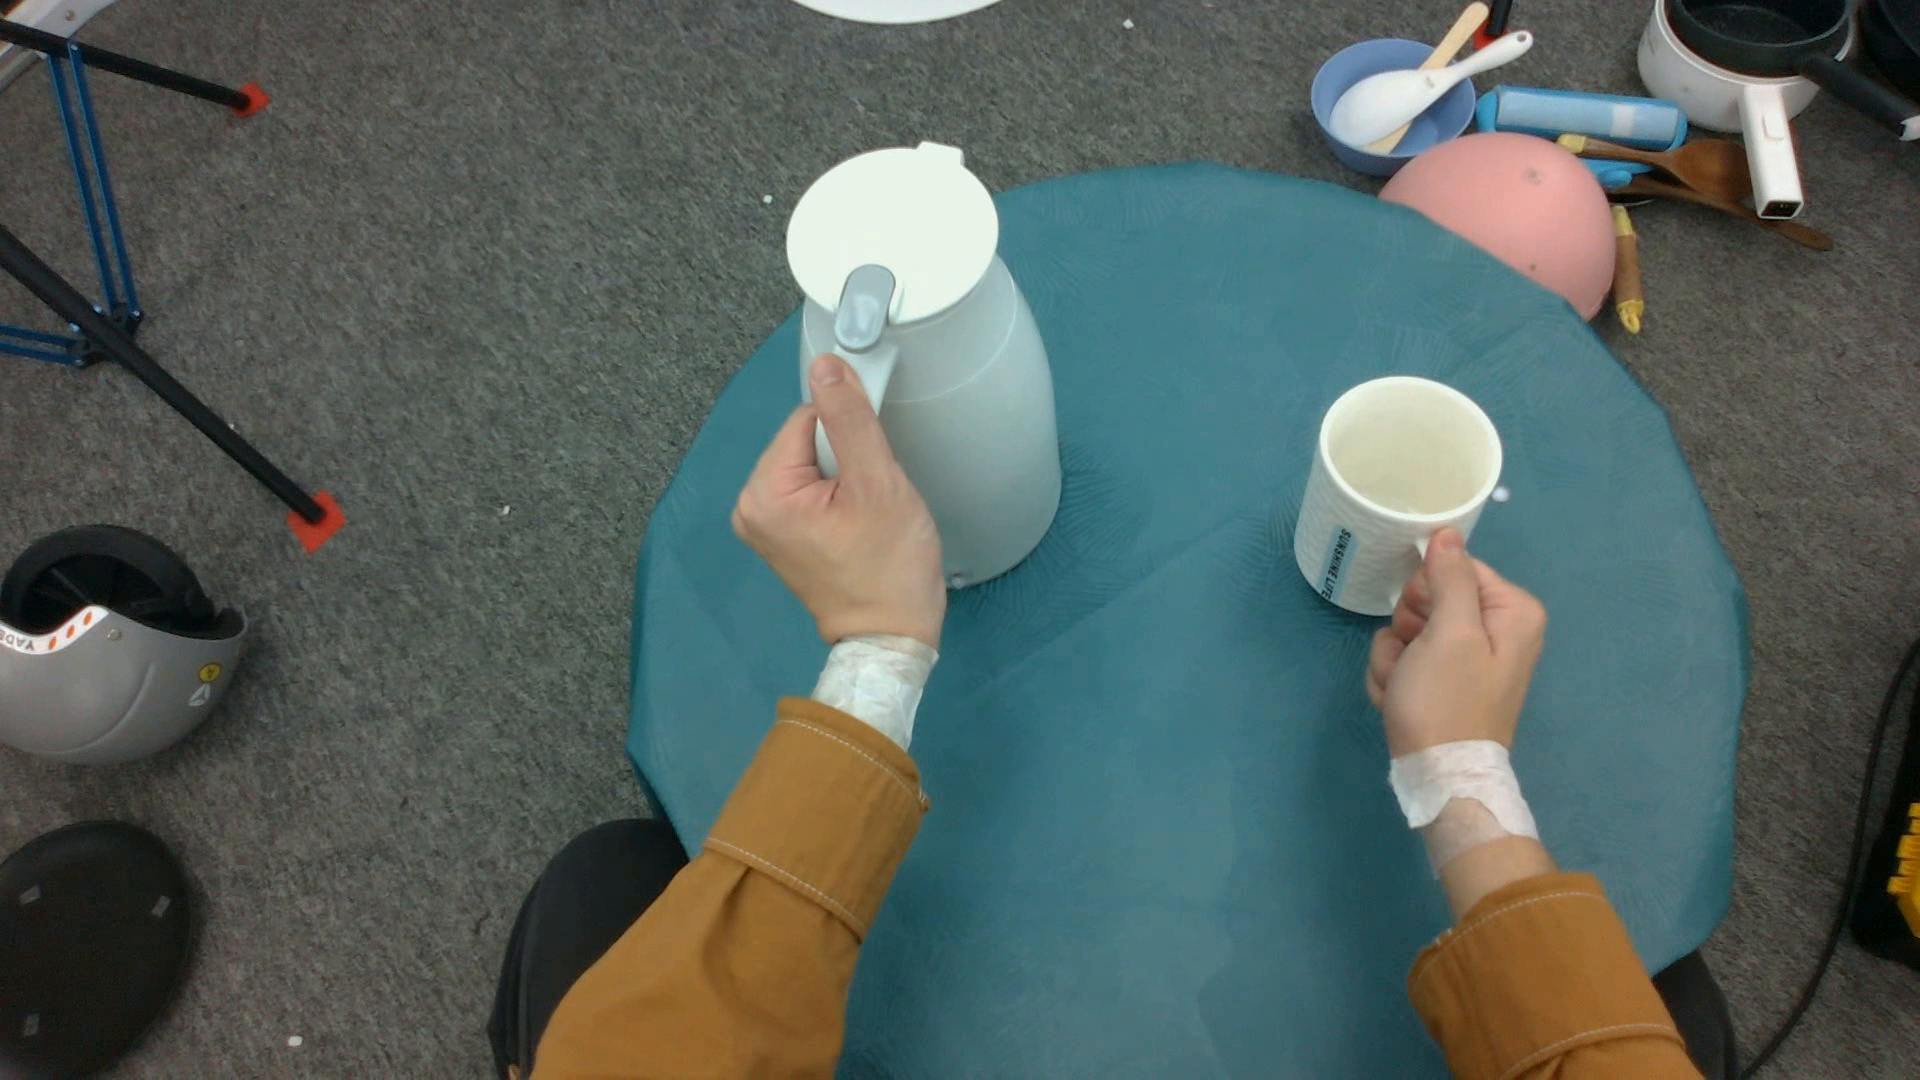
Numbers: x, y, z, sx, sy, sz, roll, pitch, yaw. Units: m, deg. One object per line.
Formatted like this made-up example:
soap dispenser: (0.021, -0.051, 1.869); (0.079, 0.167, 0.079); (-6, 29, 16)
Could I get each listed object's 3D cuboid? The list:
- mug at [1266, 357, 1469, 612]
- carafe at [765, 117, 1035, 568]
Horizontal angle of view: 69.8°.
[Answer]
mug: (0.212, -0.017, 0.711); (0.085, 0.101, 0.118); (-11, 58, -4)
carafe: (-0.035, -0.077, 0.683); (0.132, 0.248, 0.168); (13, 68, 9)
